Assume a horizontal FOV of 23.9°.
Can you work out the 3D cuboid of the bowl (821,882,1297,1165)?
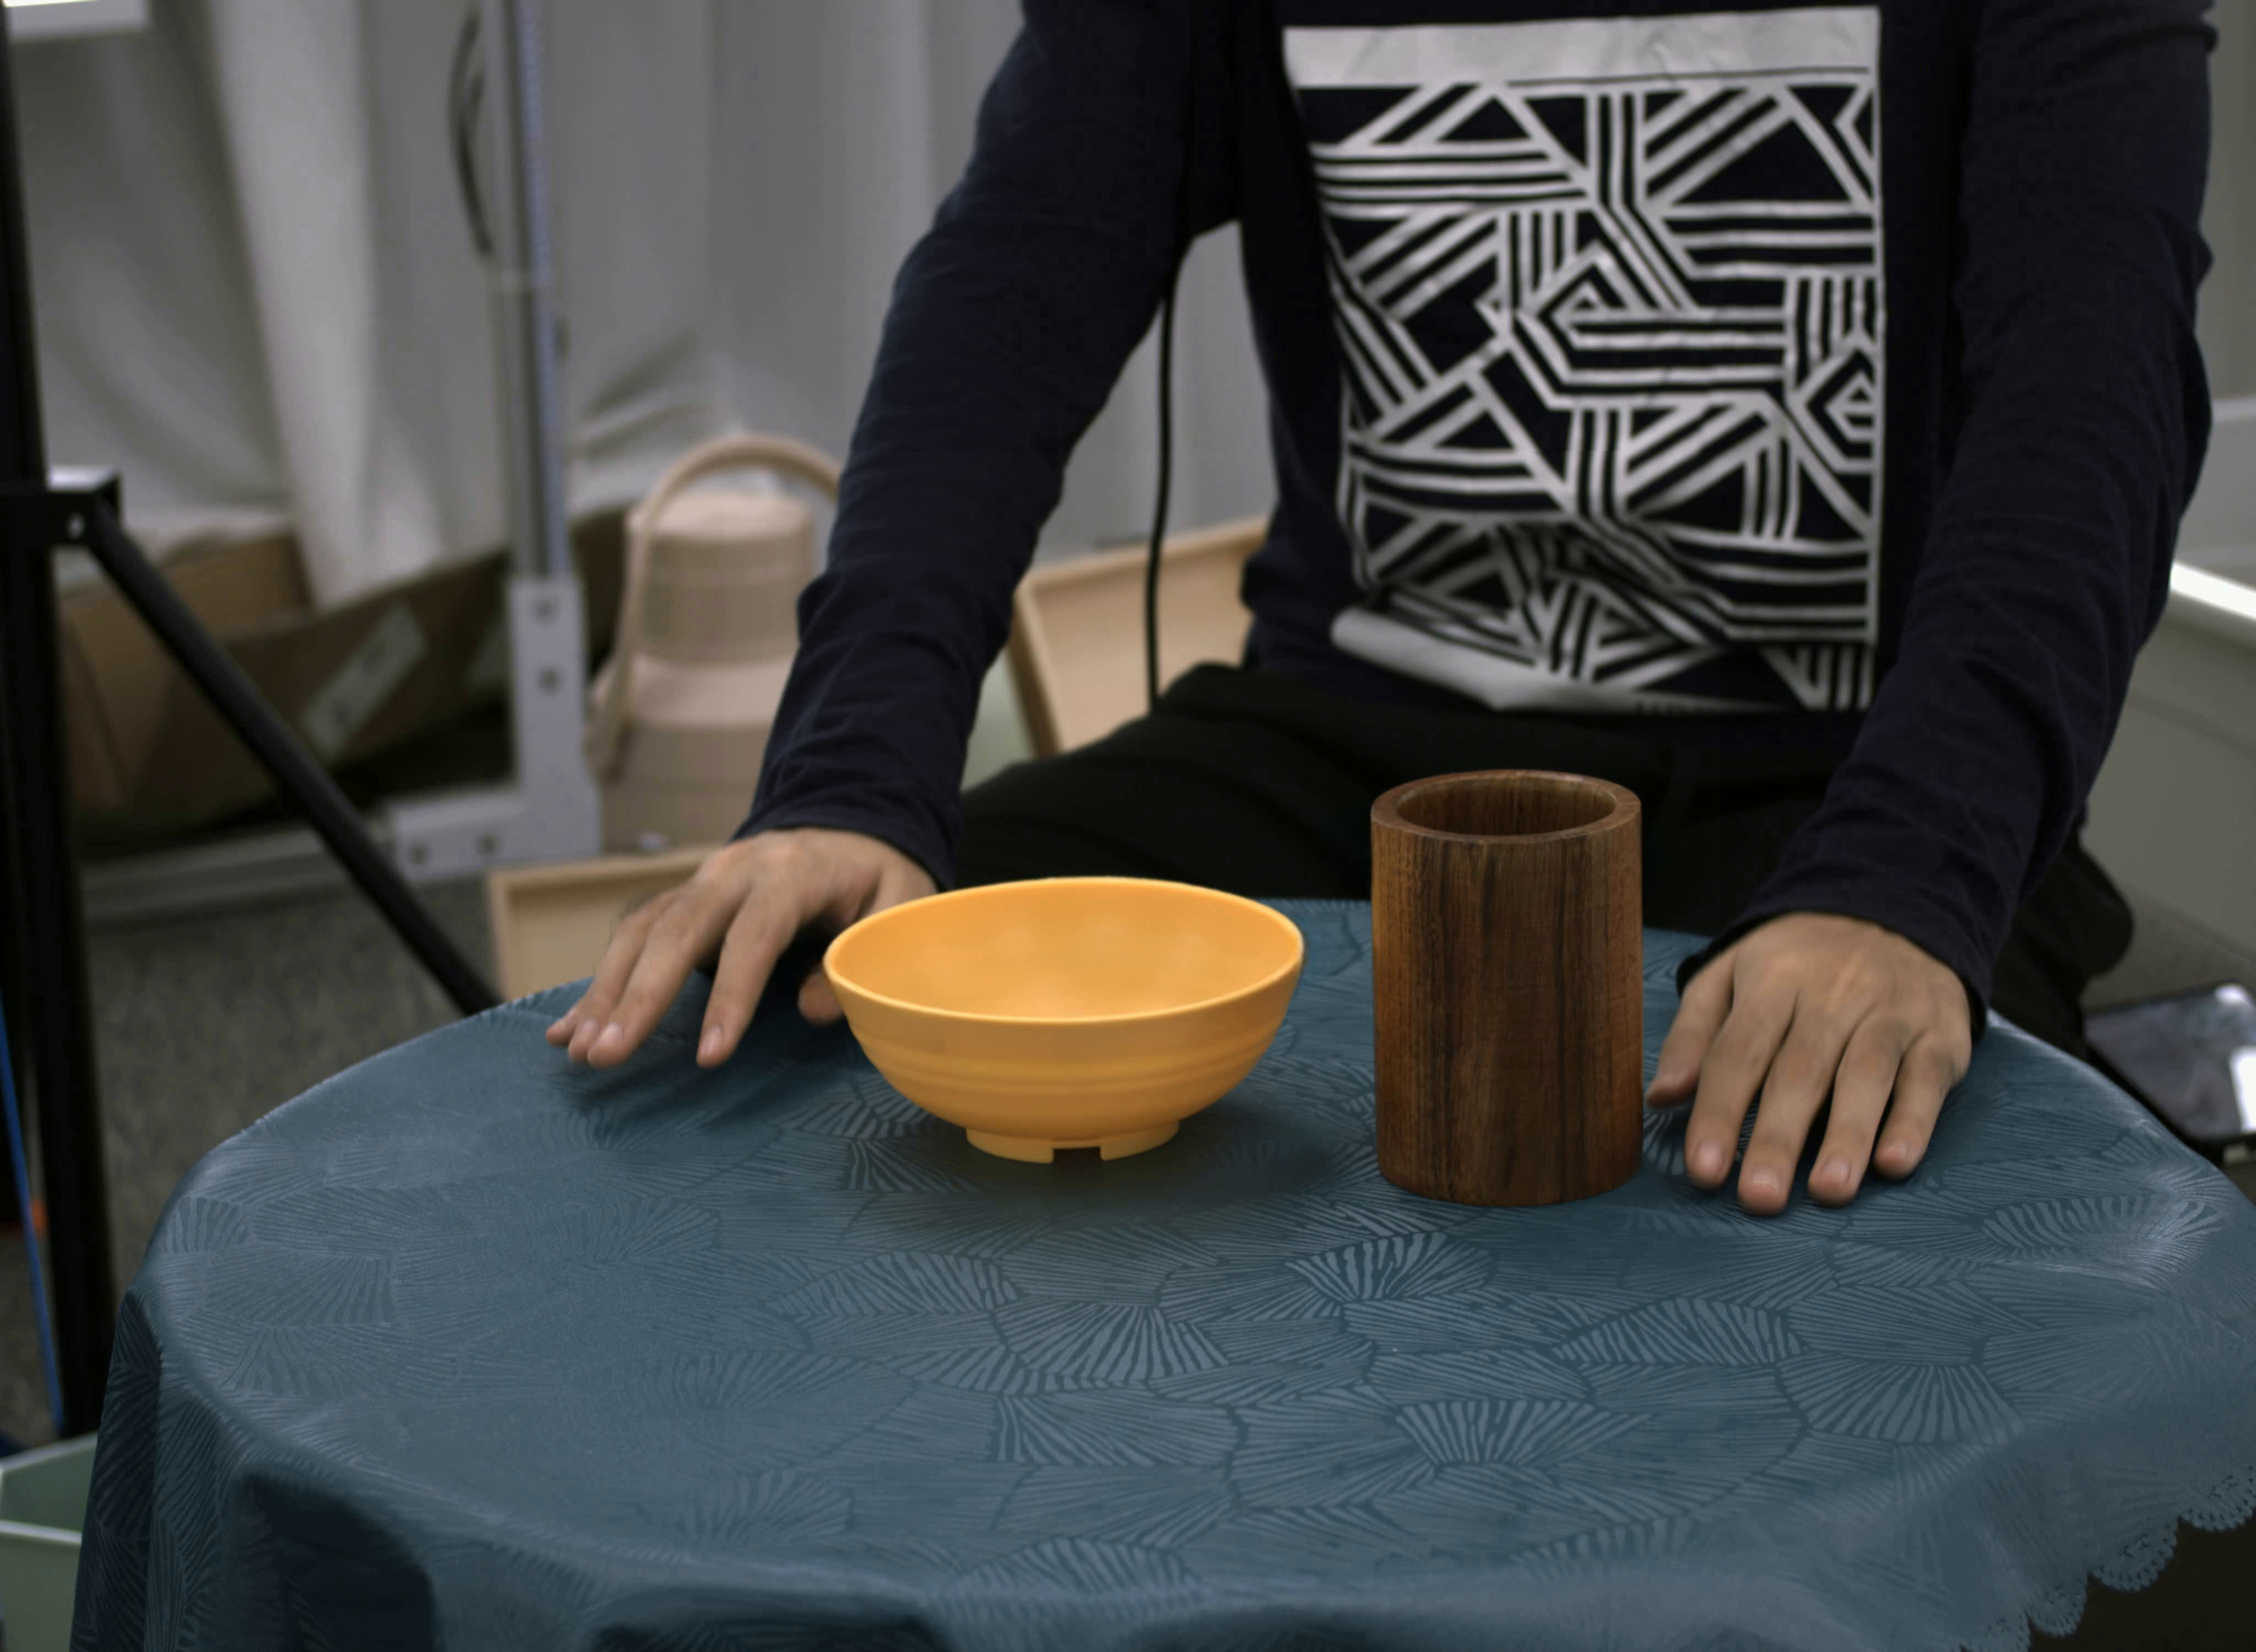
[{"bbox_3d":[-0.021,0.065,1.612,0.144,0.060,0.146,-1,15,-1],"label":"bowl"}]

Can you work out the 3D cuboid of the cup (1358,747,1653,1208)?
[{"bbox_3d":[0.109,0.044,1.556,0.087,0.118,0.088,0,15,-1],"label":"cup"}]
